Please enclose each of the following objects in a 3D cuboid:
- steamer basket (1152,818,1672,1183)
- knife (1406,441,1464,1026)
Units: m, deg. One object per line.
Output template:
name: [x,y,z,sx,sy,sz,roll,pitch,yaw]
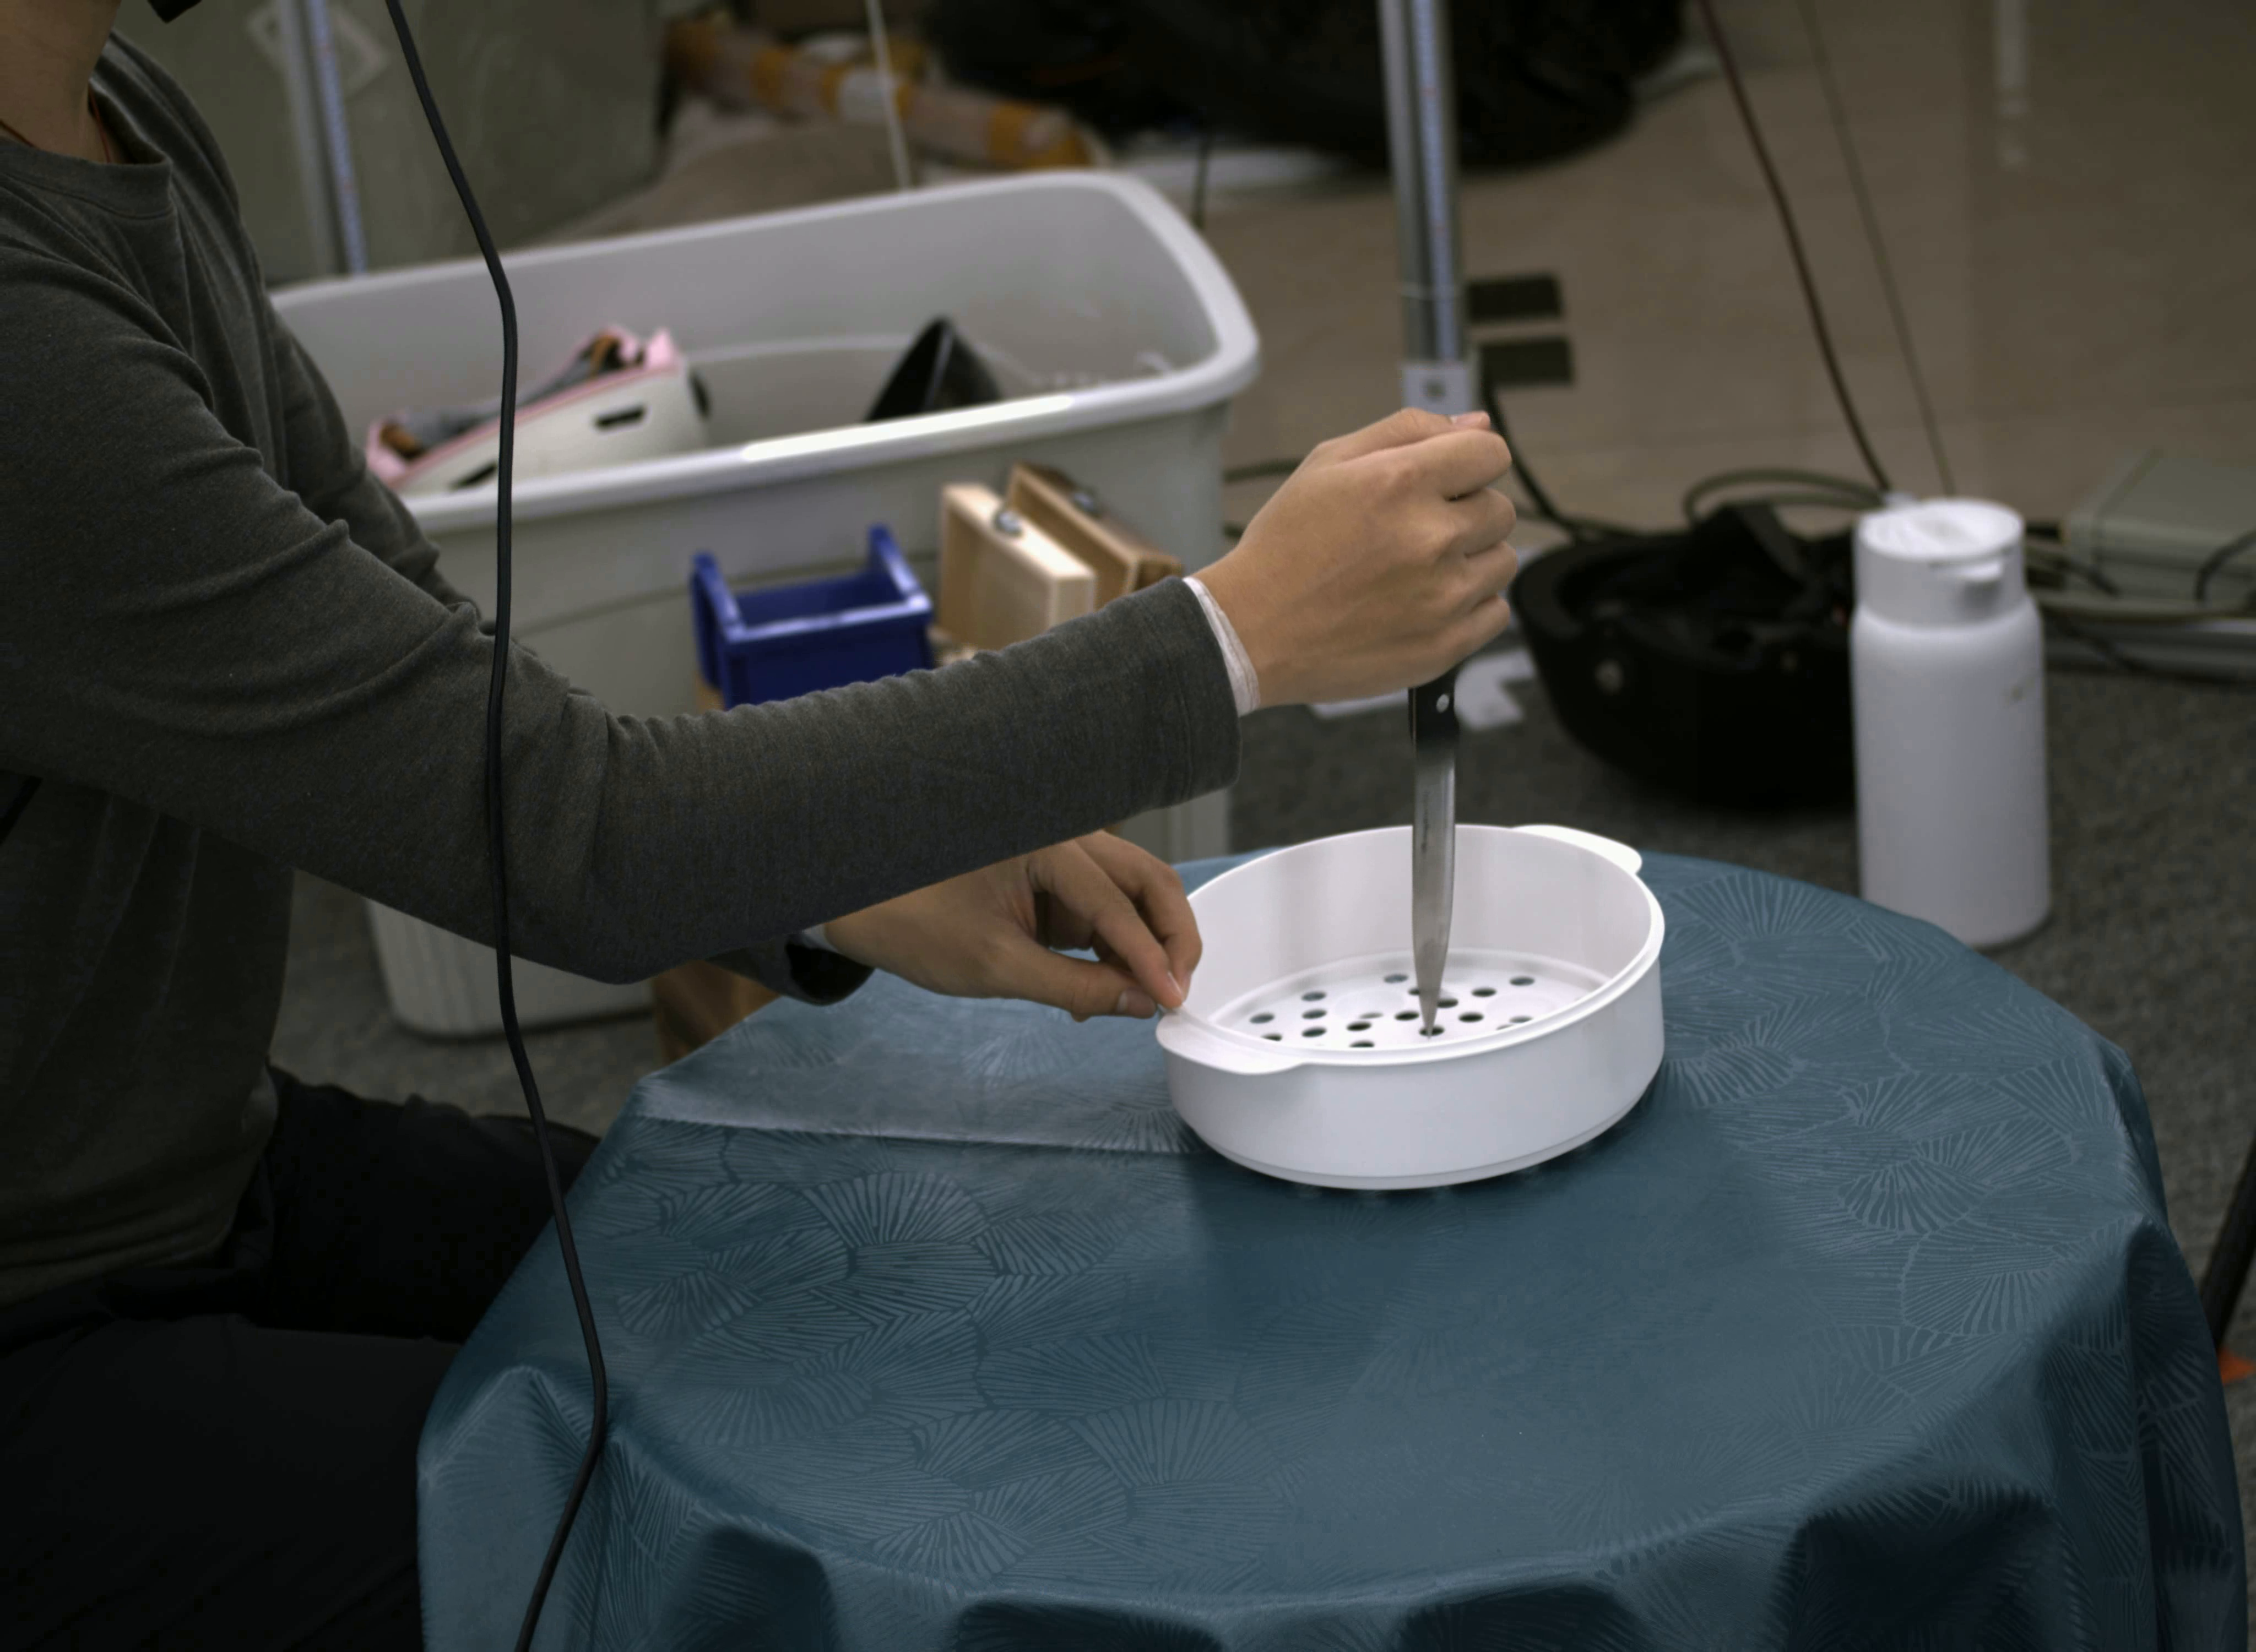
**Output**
steamer basket: [0.112,0.068,2.193,0.228,0.070,0.200,-28,31,-36]
knife: [0.117,-0.031,2.153,0.024,0.242,0.016,-15,27,-29]
